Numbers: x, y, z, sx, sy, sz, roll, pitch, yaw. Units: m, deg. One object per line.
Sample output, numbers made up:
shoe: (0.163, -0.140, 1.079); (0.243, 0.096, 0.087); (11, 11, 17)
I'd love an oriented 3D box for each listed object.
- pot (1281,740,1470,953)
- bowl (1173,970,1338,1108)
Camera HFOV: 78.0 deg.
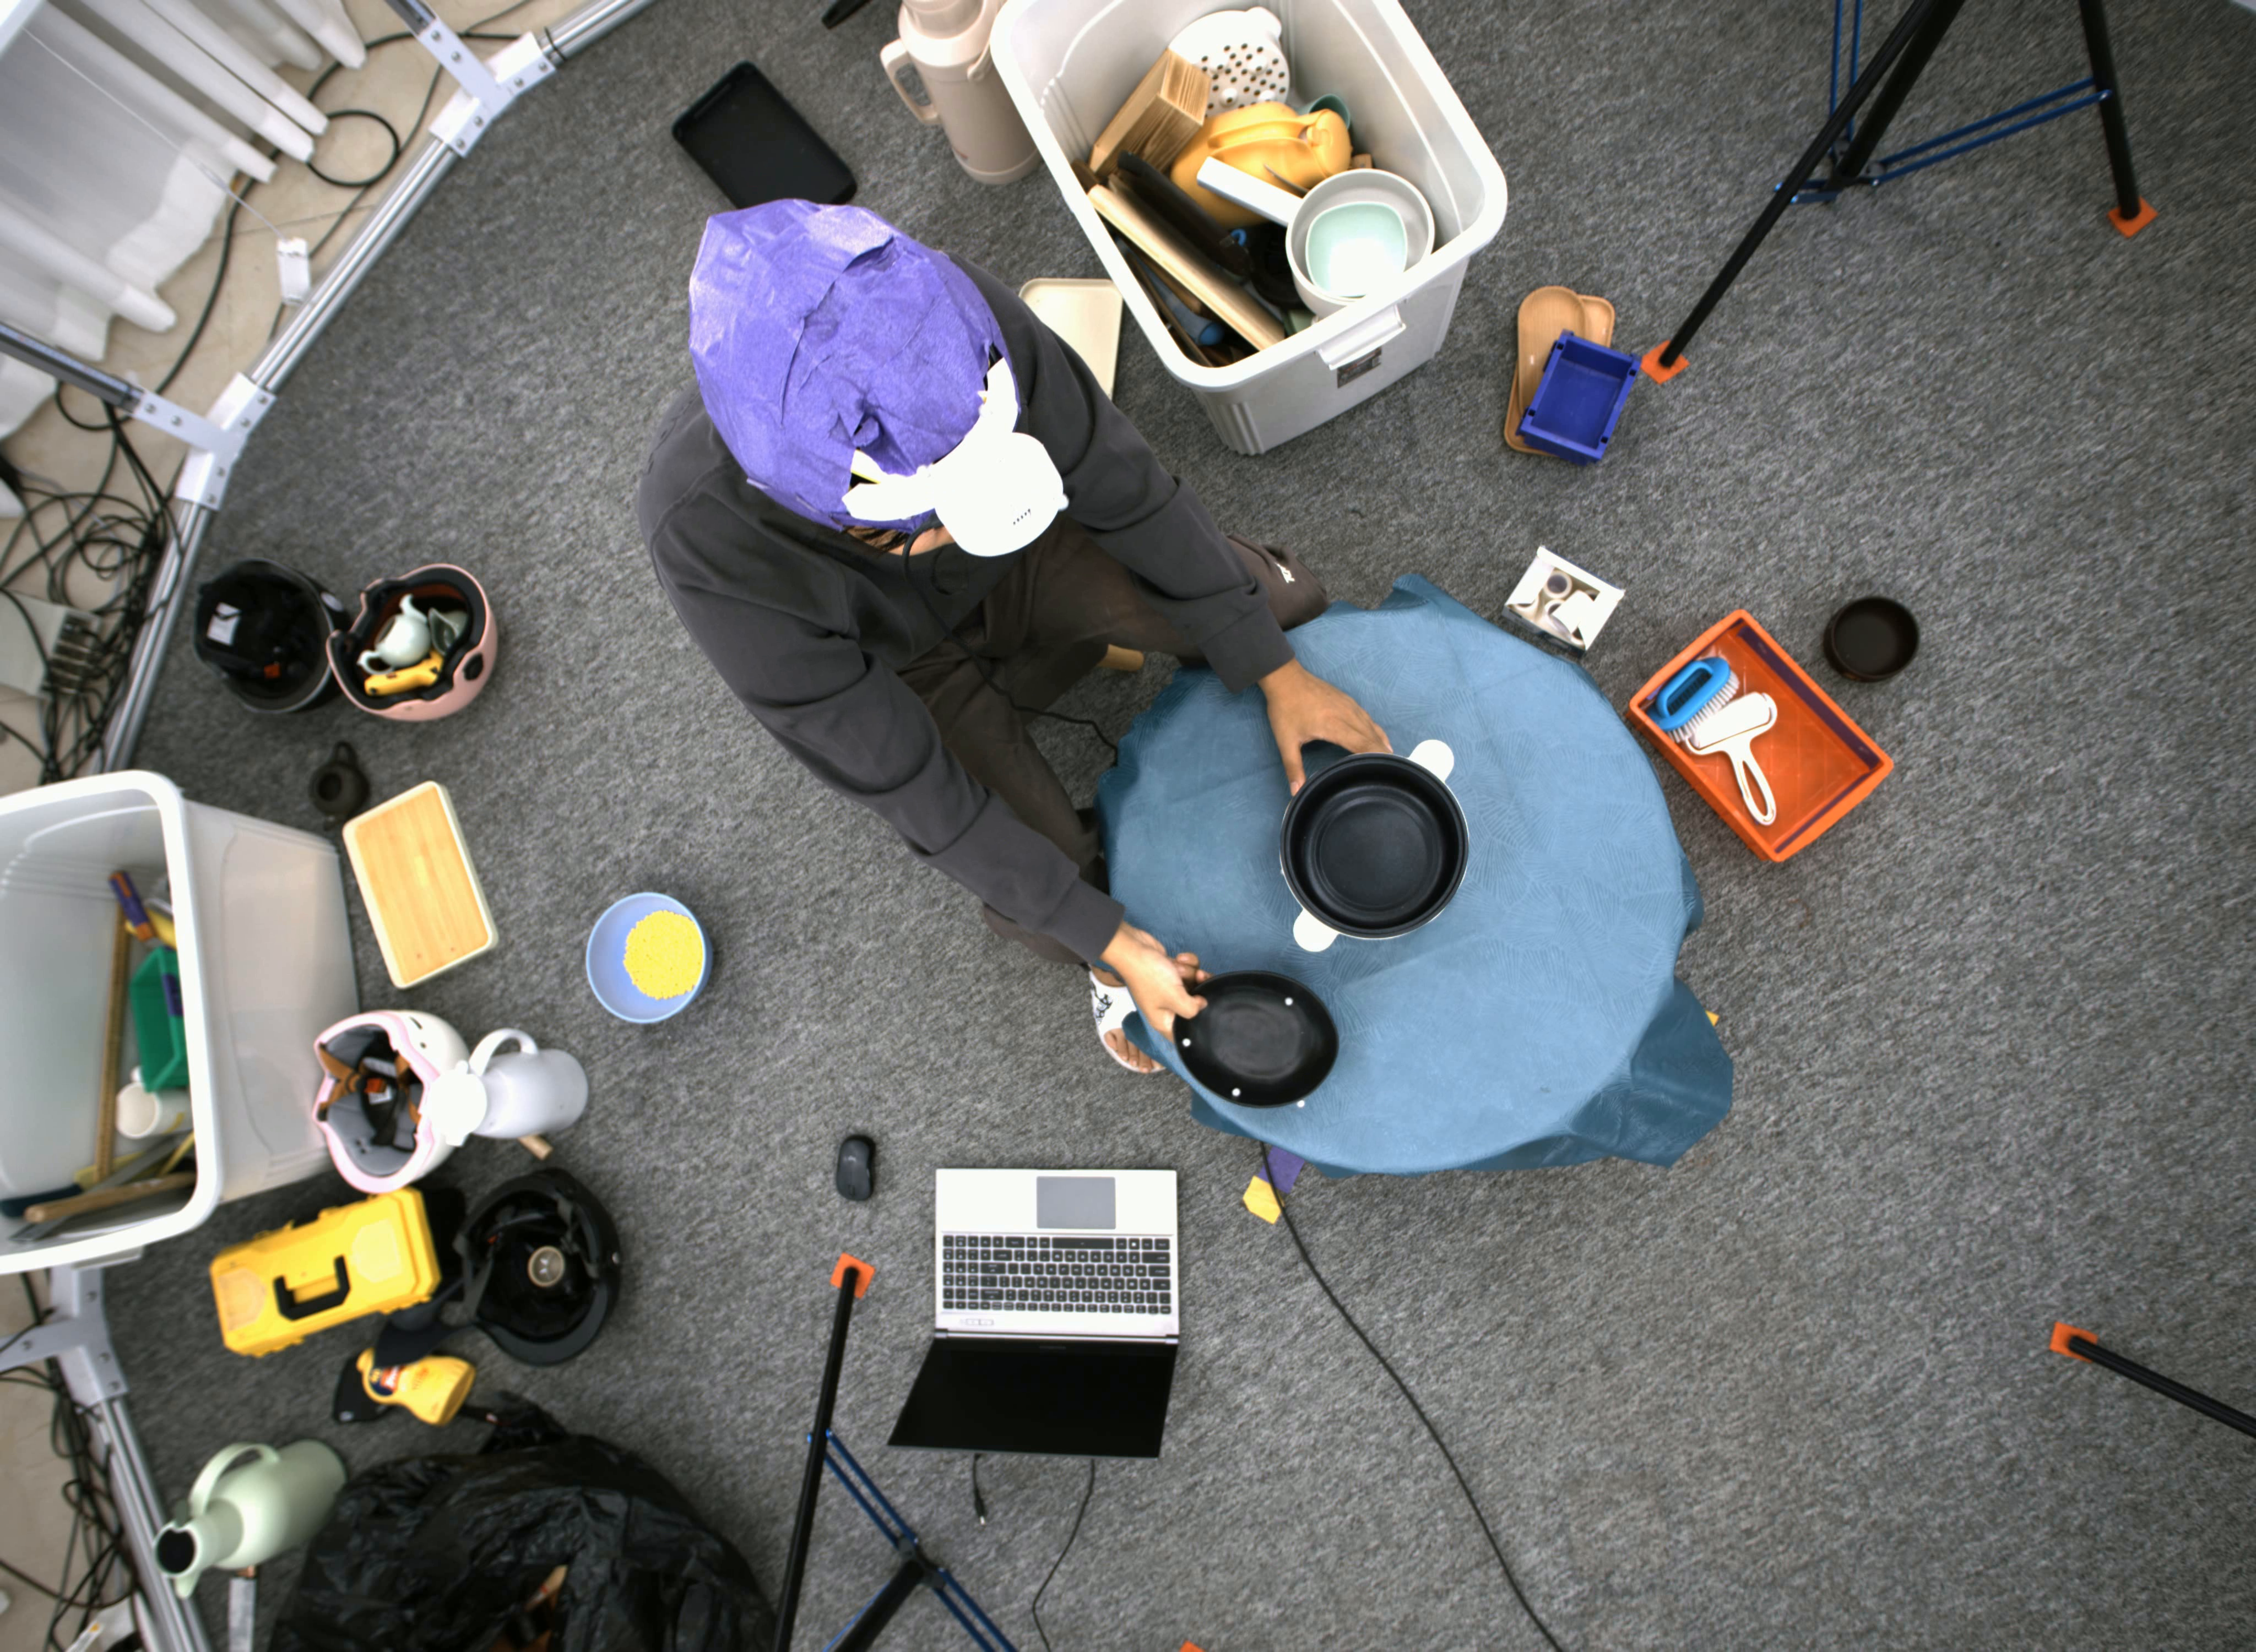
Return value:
pot: (0.244, 0.023, 1.399); (0.190, 0.143, 0.240); (34, 91, 8)
bowl: (0.131, 0.215, 1.427); (0.170, 0.067, 0.137); (10, 89, 10)
